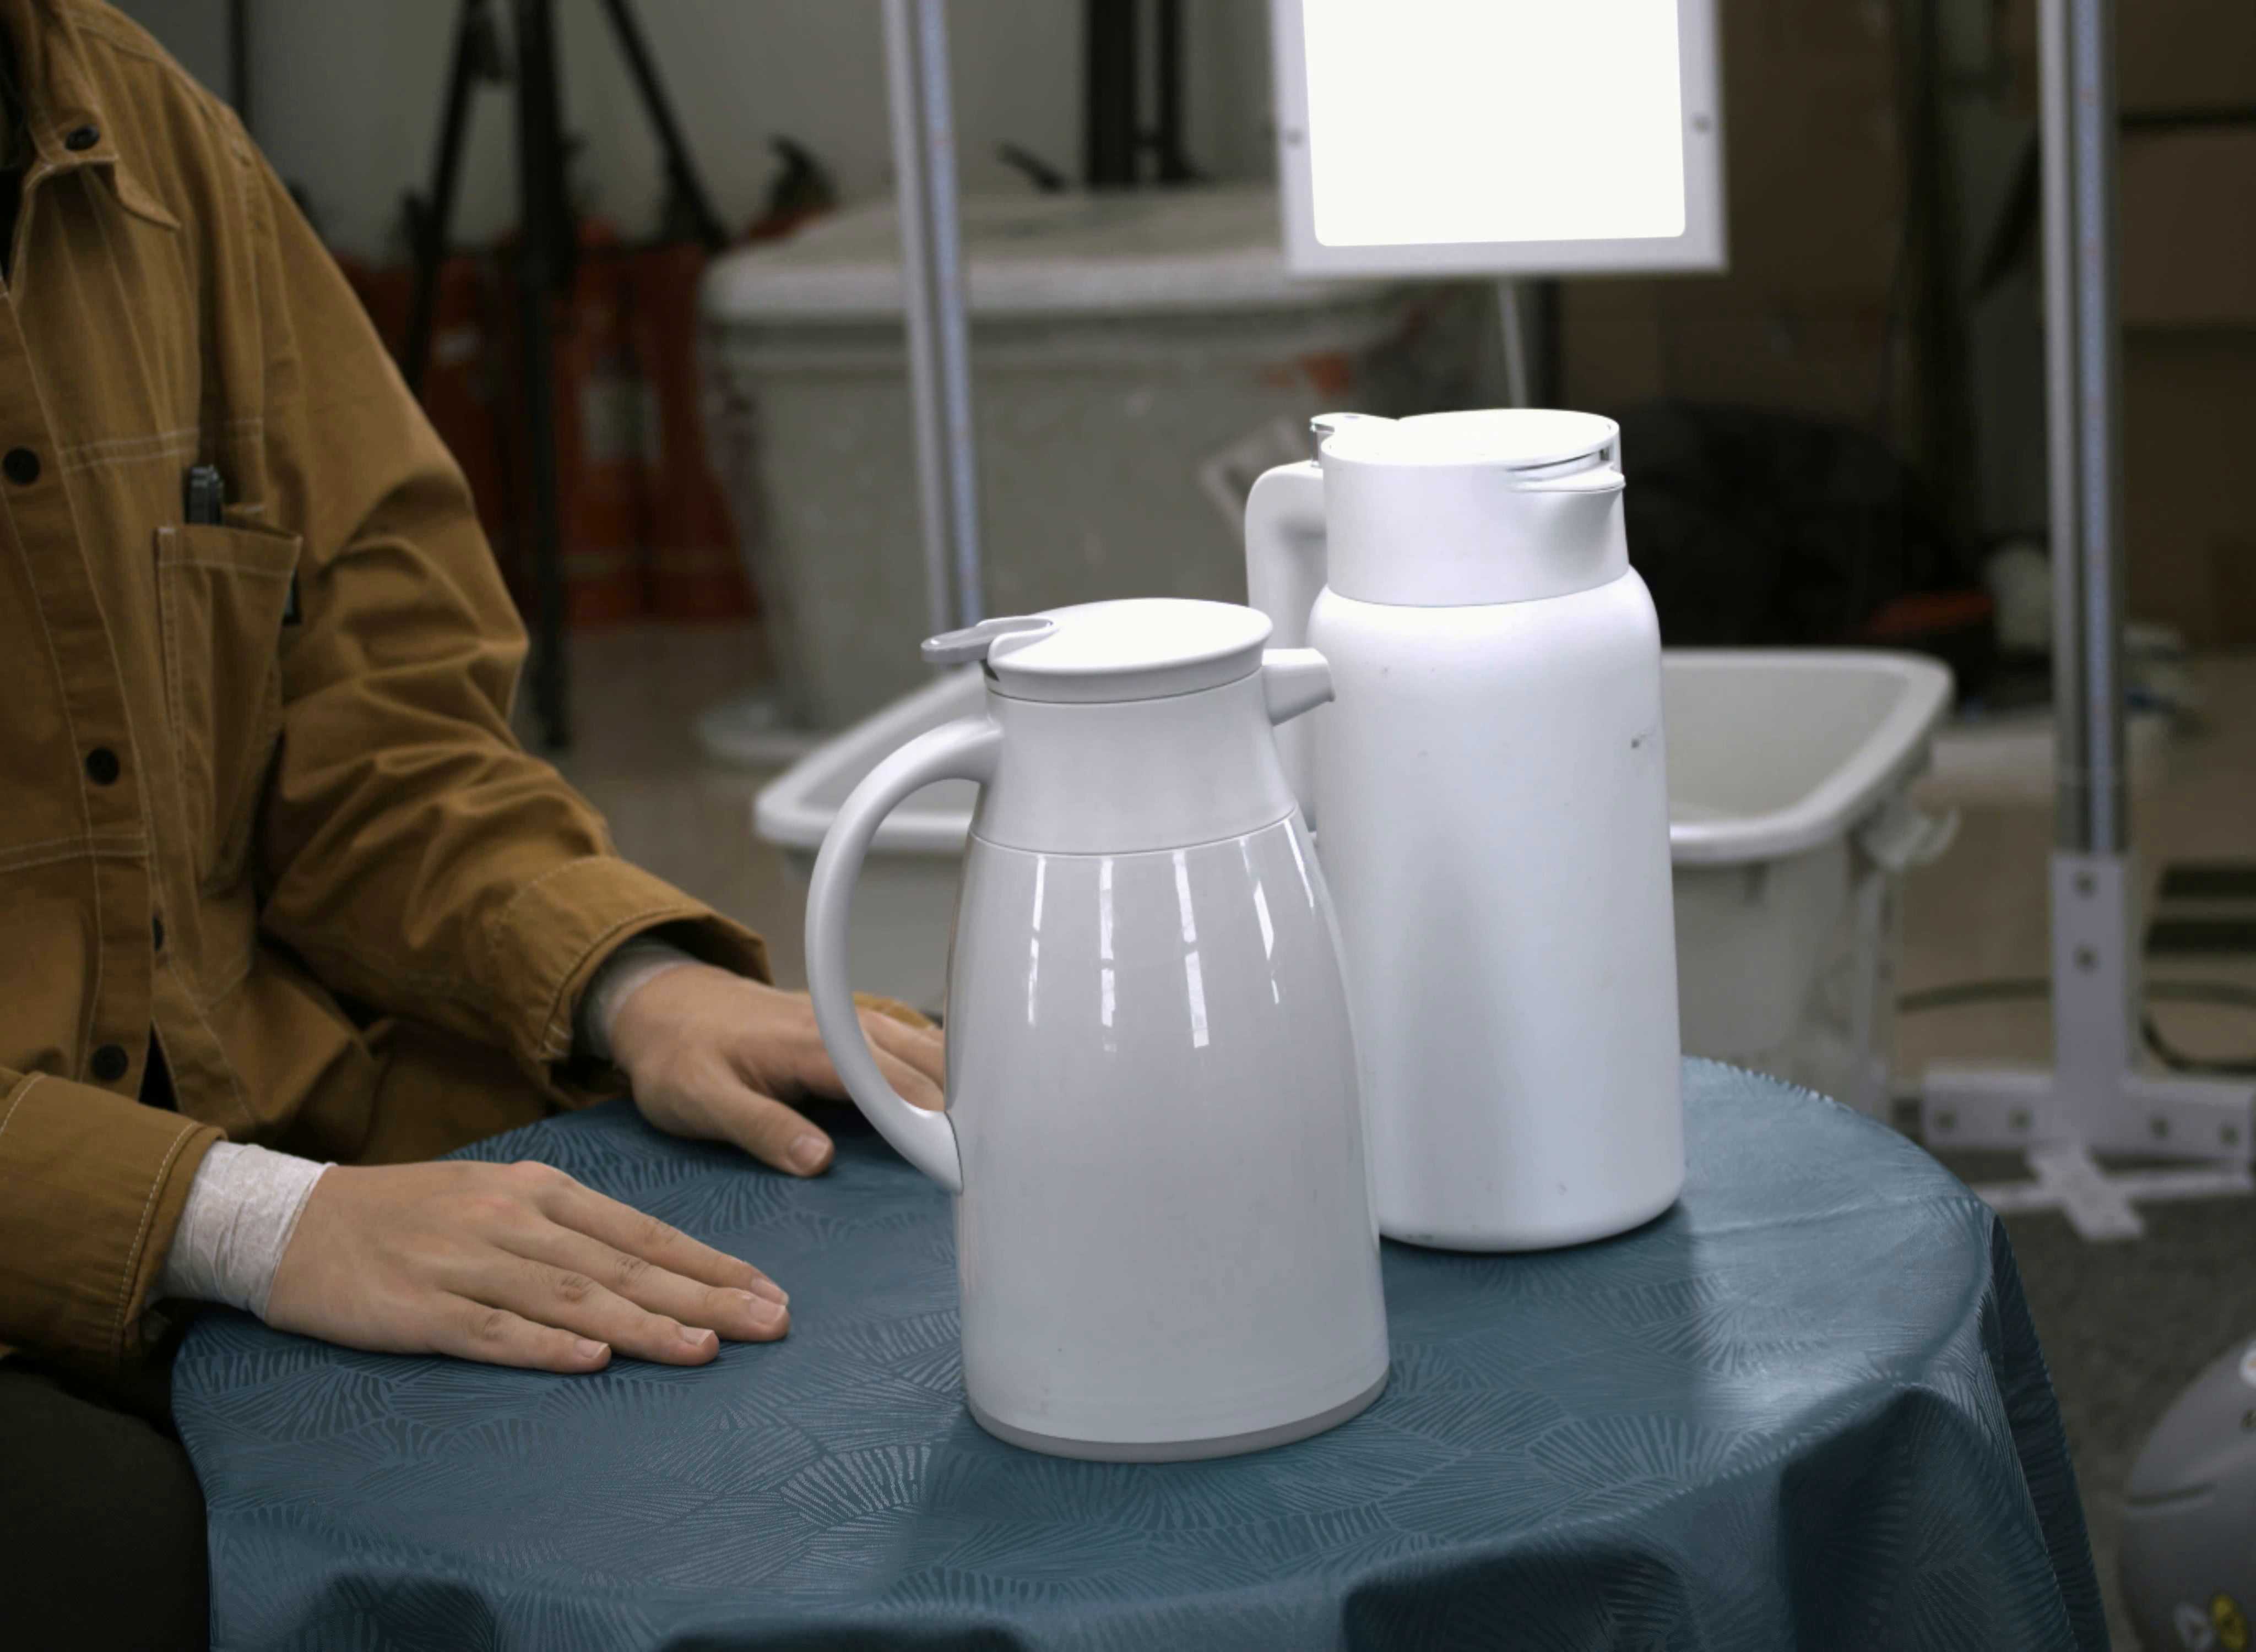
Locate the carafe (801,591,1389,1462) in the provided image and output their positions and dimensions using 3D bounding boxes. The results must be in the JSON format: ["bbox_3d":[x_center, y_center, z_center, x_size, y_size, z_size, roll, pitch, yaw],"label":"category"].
[{"bbox_3d":[-0.013,0.057,1.666,0.166,0.249,0.133,-8,14,-9],"label":"carafe"}]

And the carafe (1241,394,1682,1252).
[{"bbox_3d":[0.108,-0.003,1.826,0.121,0.270,0.176,-17,18,-35],"label":"carafe"}]
